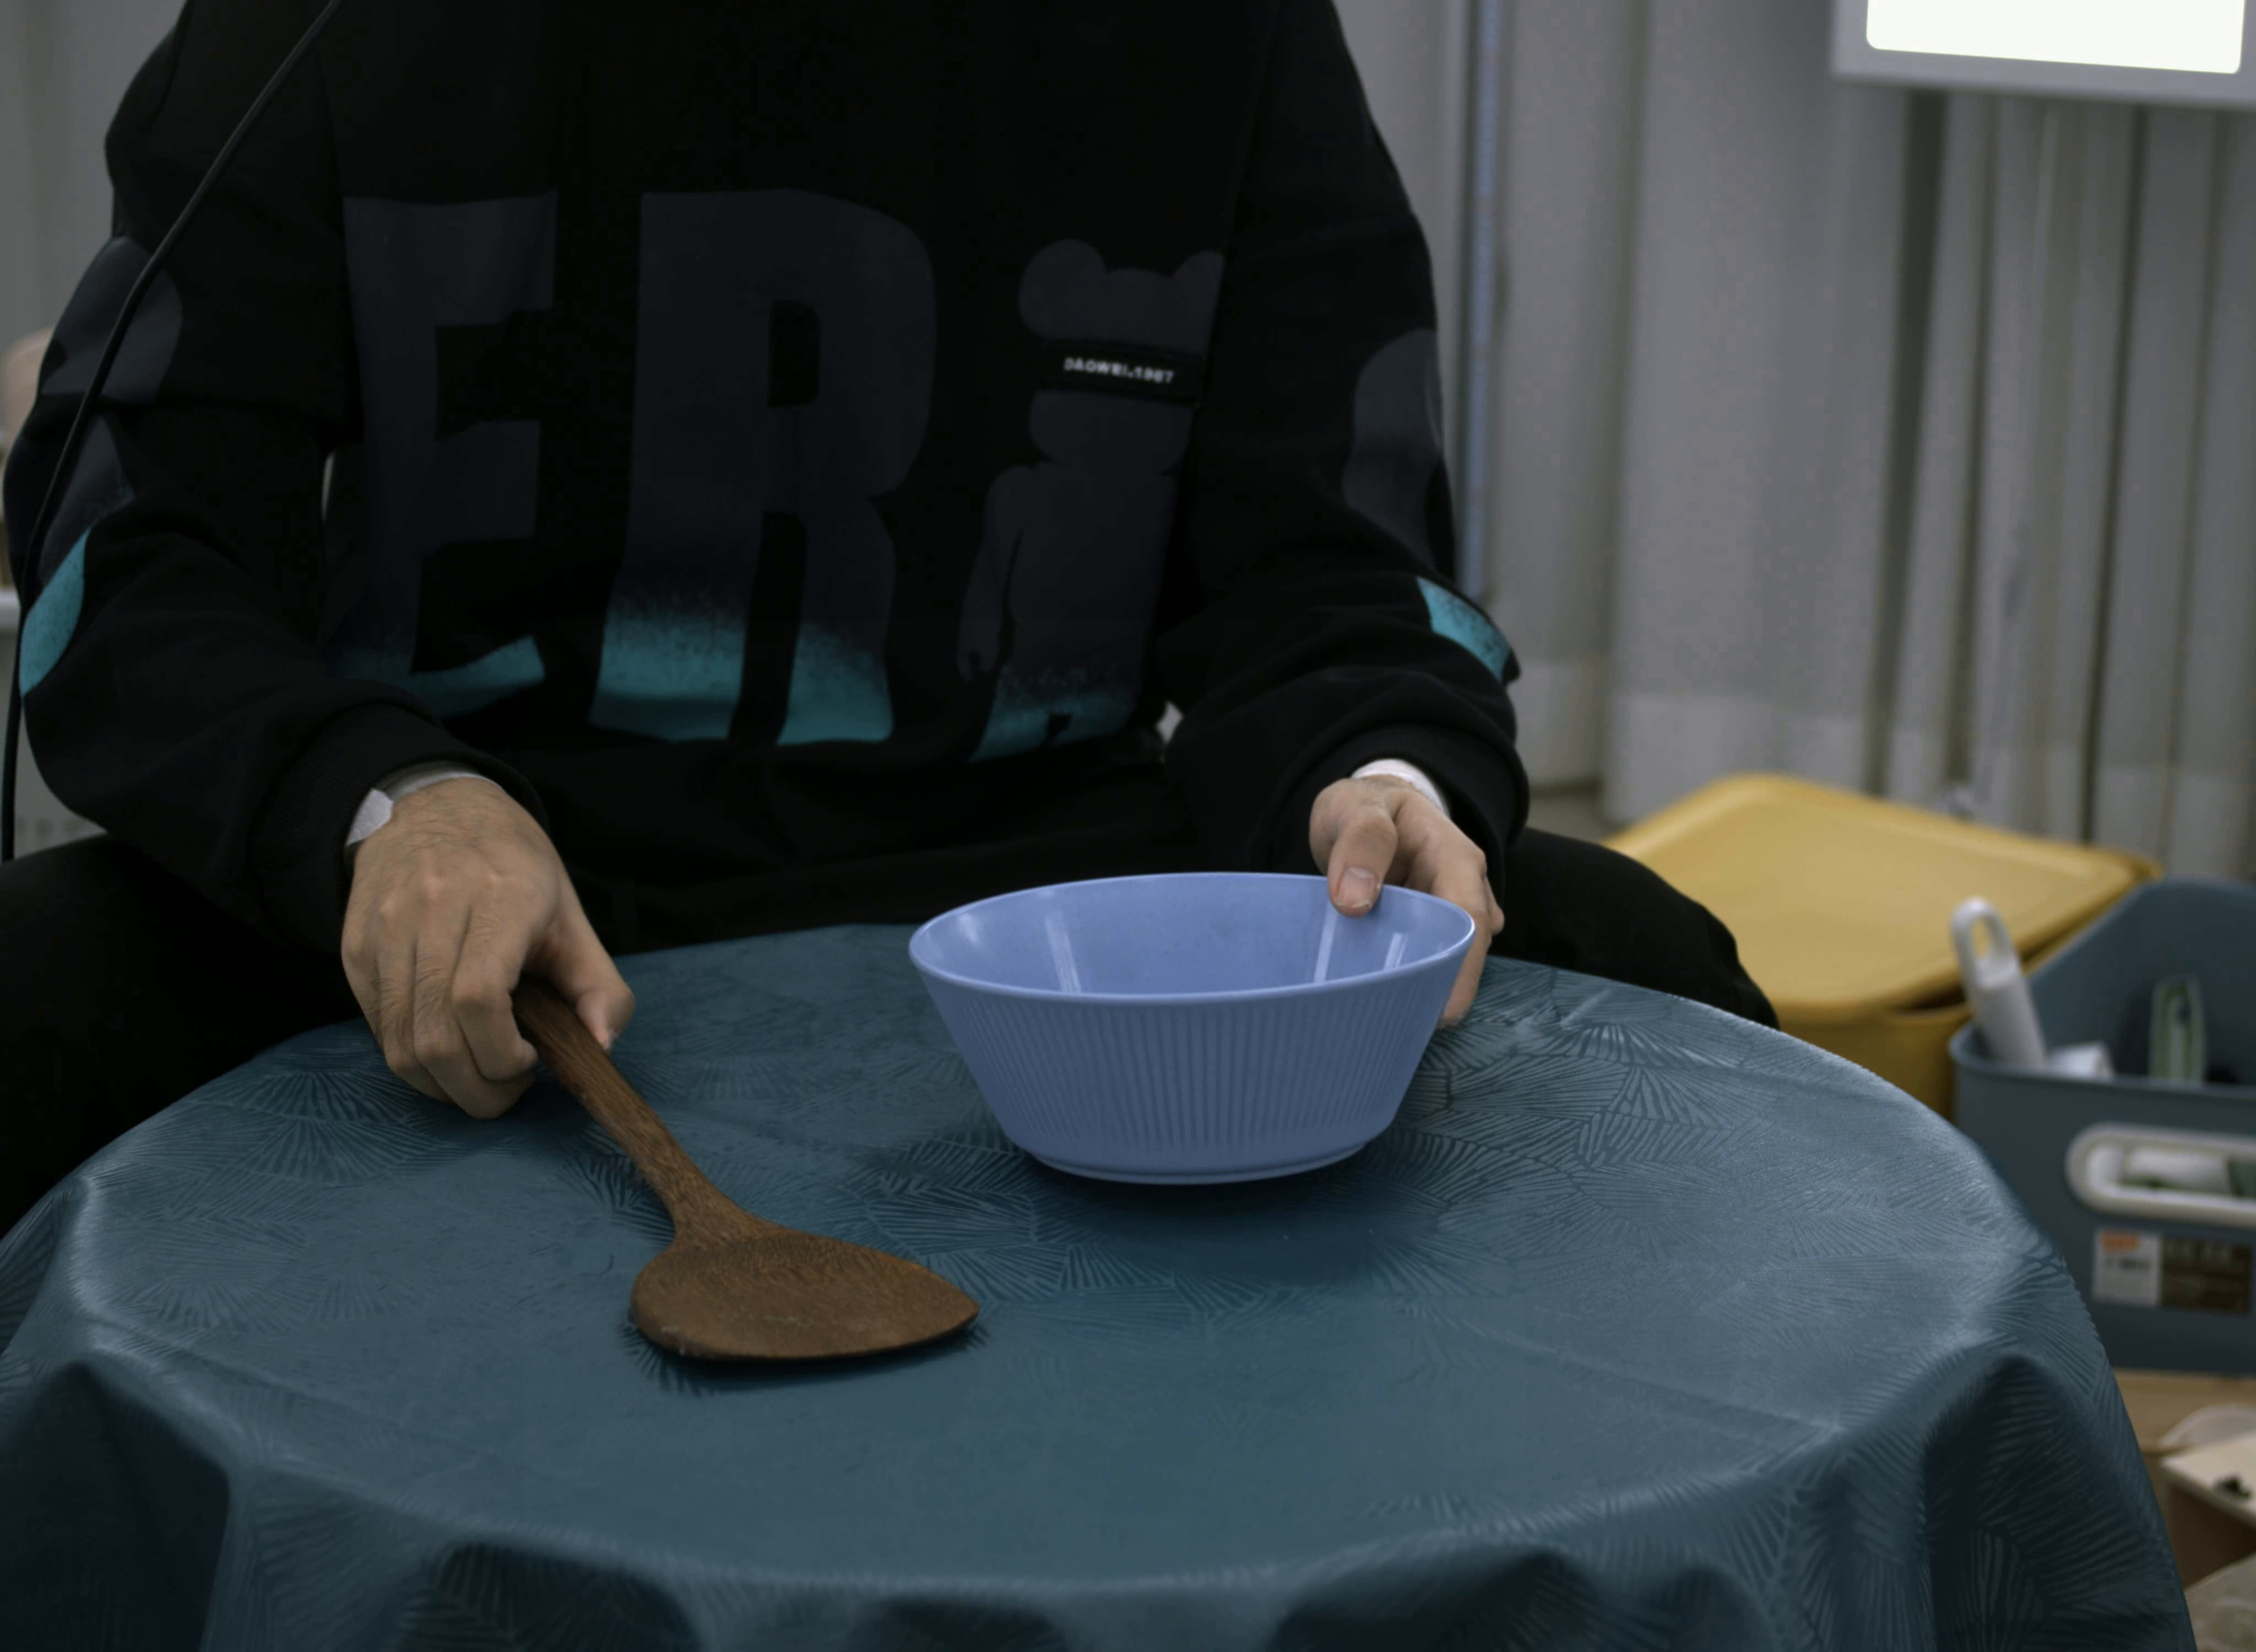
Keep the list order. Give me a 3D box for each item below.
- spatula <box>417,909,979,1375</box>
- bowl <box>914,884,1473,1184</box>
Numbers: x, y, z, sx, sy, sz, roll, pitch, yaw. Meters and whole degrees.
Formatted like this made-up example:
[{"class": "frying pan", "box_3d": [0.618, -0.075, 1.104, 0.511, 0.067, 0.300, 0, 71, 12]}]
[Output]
[{"class": "spatula", "box_3d": [-0.156, 0.091, 1.637, 0.096, 0.016, 0.381, -5, 21, -24]}, {"class": "bowl", "box_3d": [0.021, 0.066, 1.643, 0.175, 0.071, 0.175, -2, 10, 1]}]
